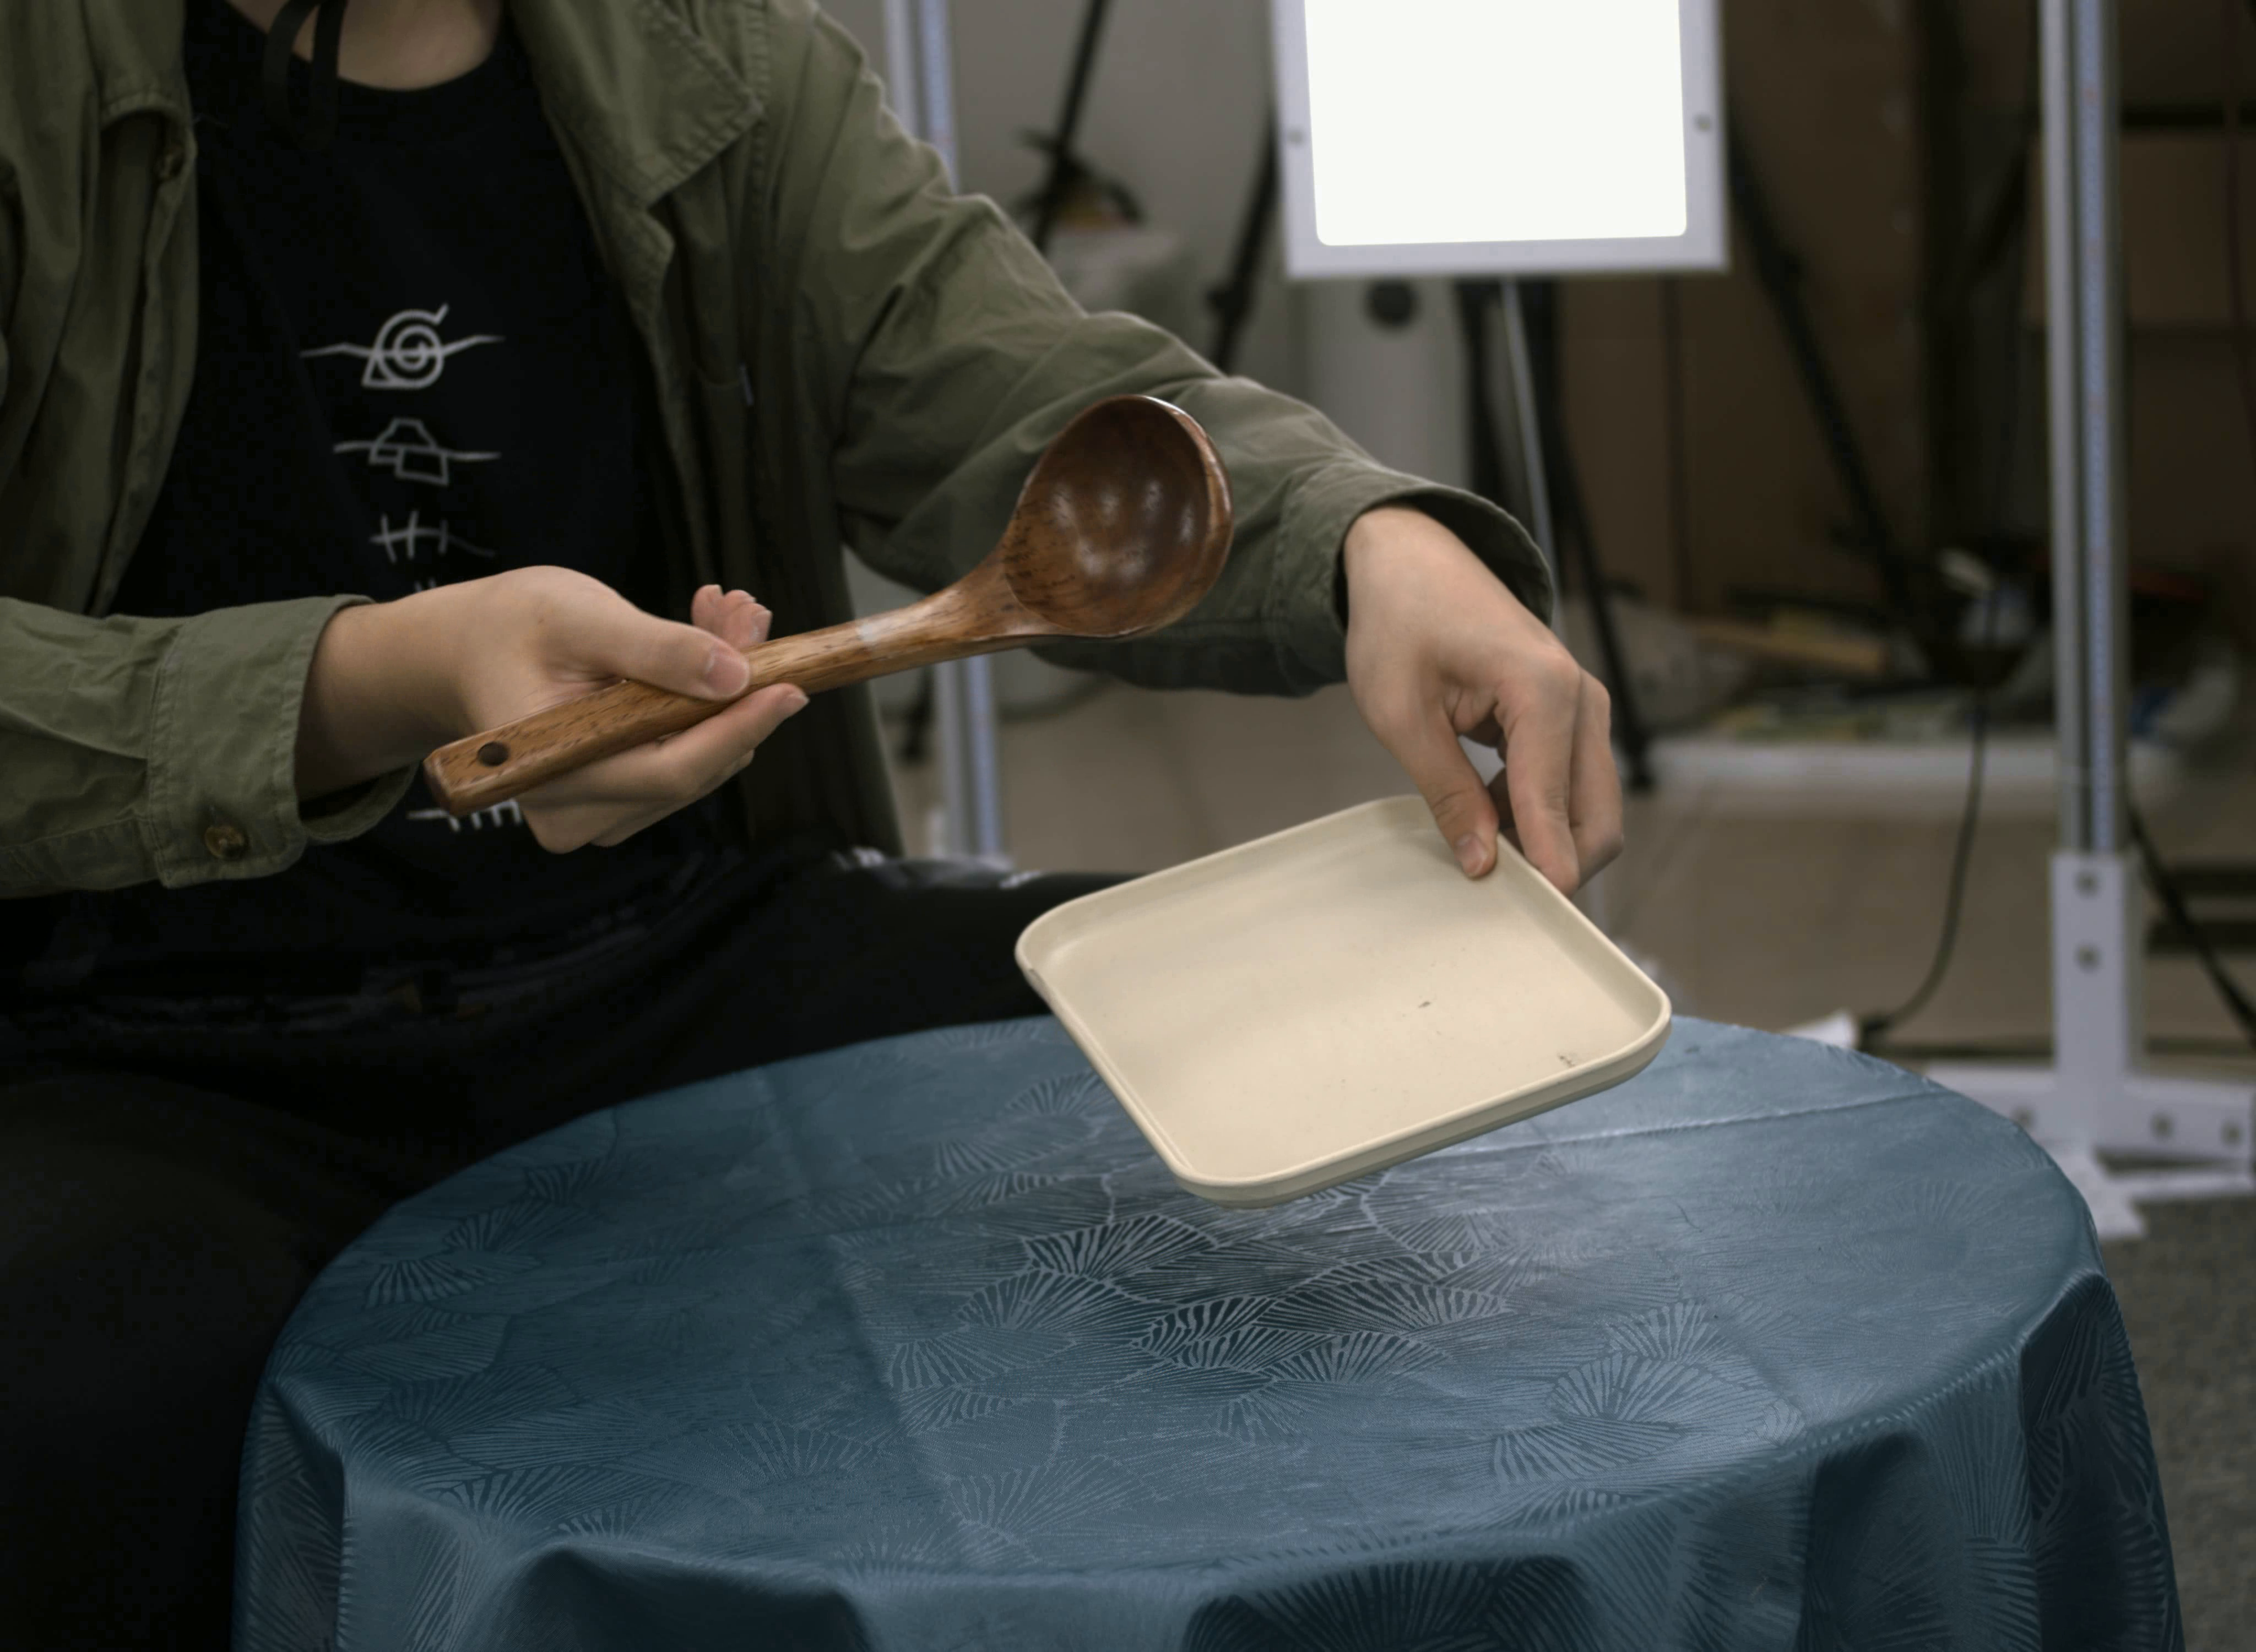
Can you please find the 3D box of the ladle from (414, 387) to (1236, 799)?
[{"bbox_3d":[-0.093,-0.071,1.734,0.269,0.077,0.082,-16,51,-20],"label":"ladle"}]

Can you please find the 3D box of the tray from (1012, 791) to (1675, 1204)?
[{"bbox_3d":[0.068,0.055,1.803,0.169,0.017,0.242,-19,24,-9],"label":"tray"}]
